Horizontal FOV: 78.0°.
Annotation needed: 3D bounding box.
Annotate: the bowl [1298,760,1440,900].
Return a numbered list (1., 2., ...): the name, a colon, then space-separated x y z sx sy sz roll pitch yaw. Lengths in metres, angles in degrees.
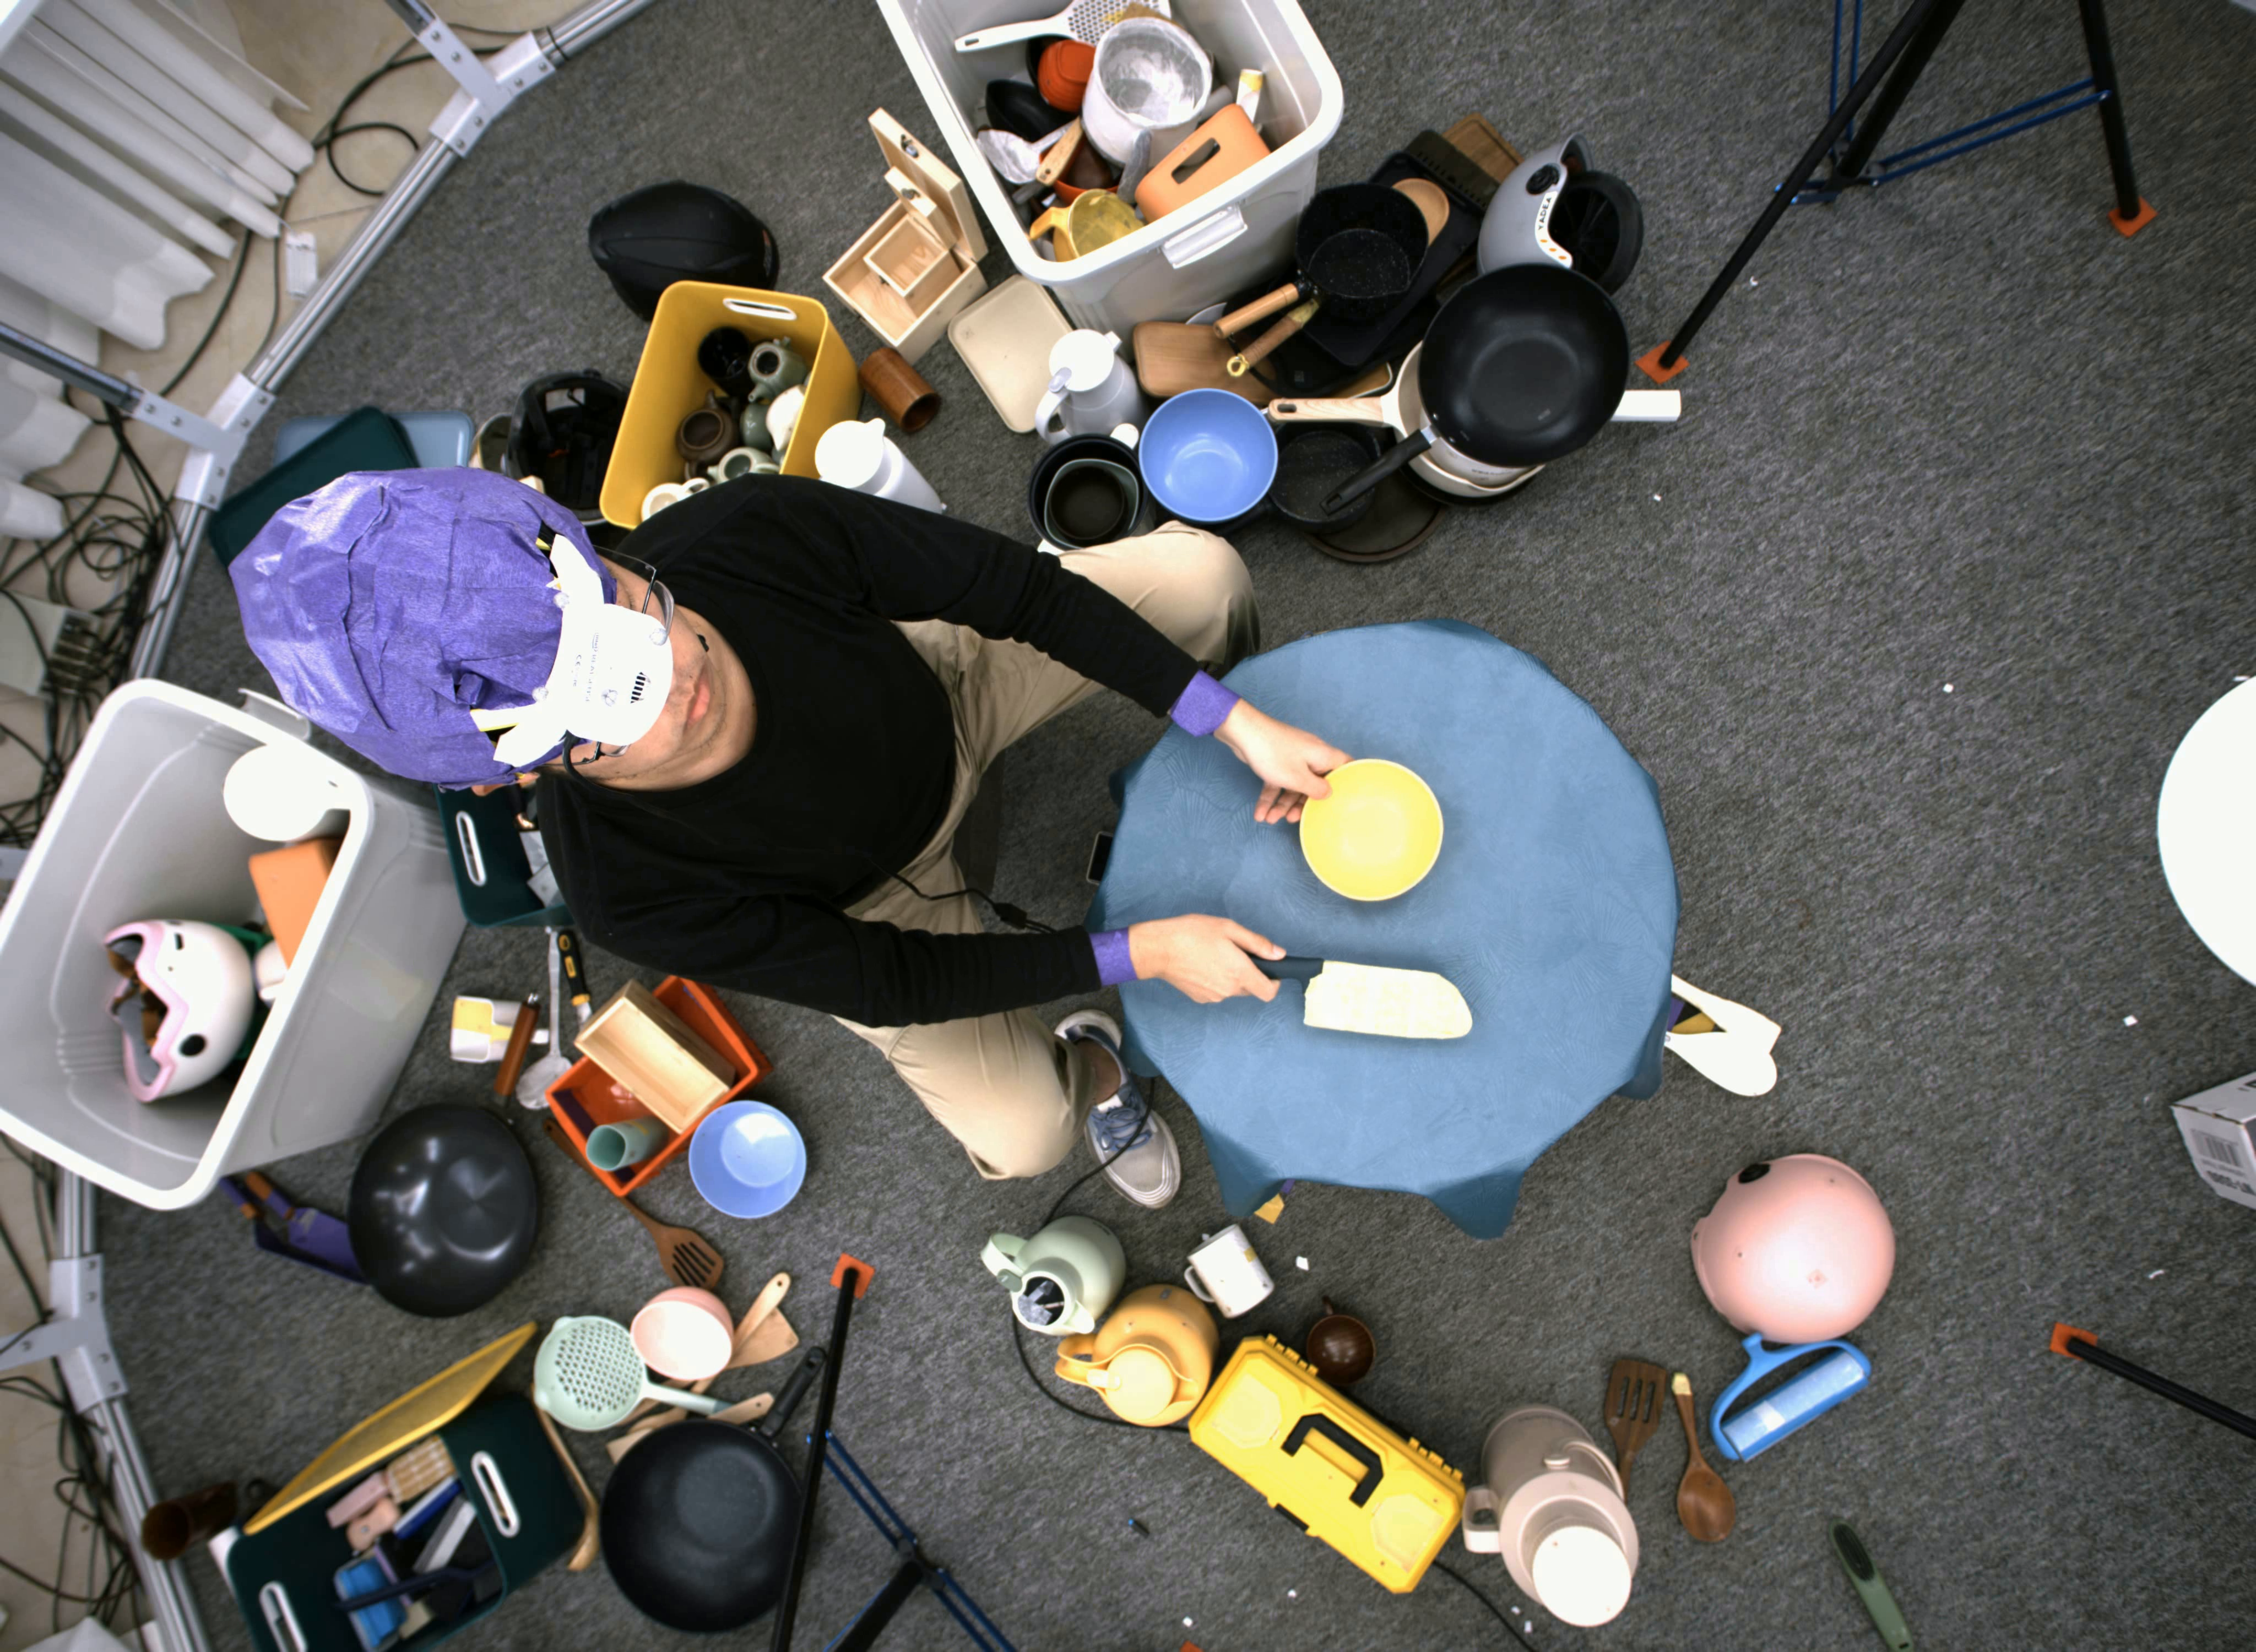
1. bowl: 0.251 0.006 1.436 0.146 0.060 0.144 -1 87 12

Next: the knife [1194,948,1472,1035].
1. knife: 0.209 0.169 1.421 0.290 0.027 0.082 9 107 11
